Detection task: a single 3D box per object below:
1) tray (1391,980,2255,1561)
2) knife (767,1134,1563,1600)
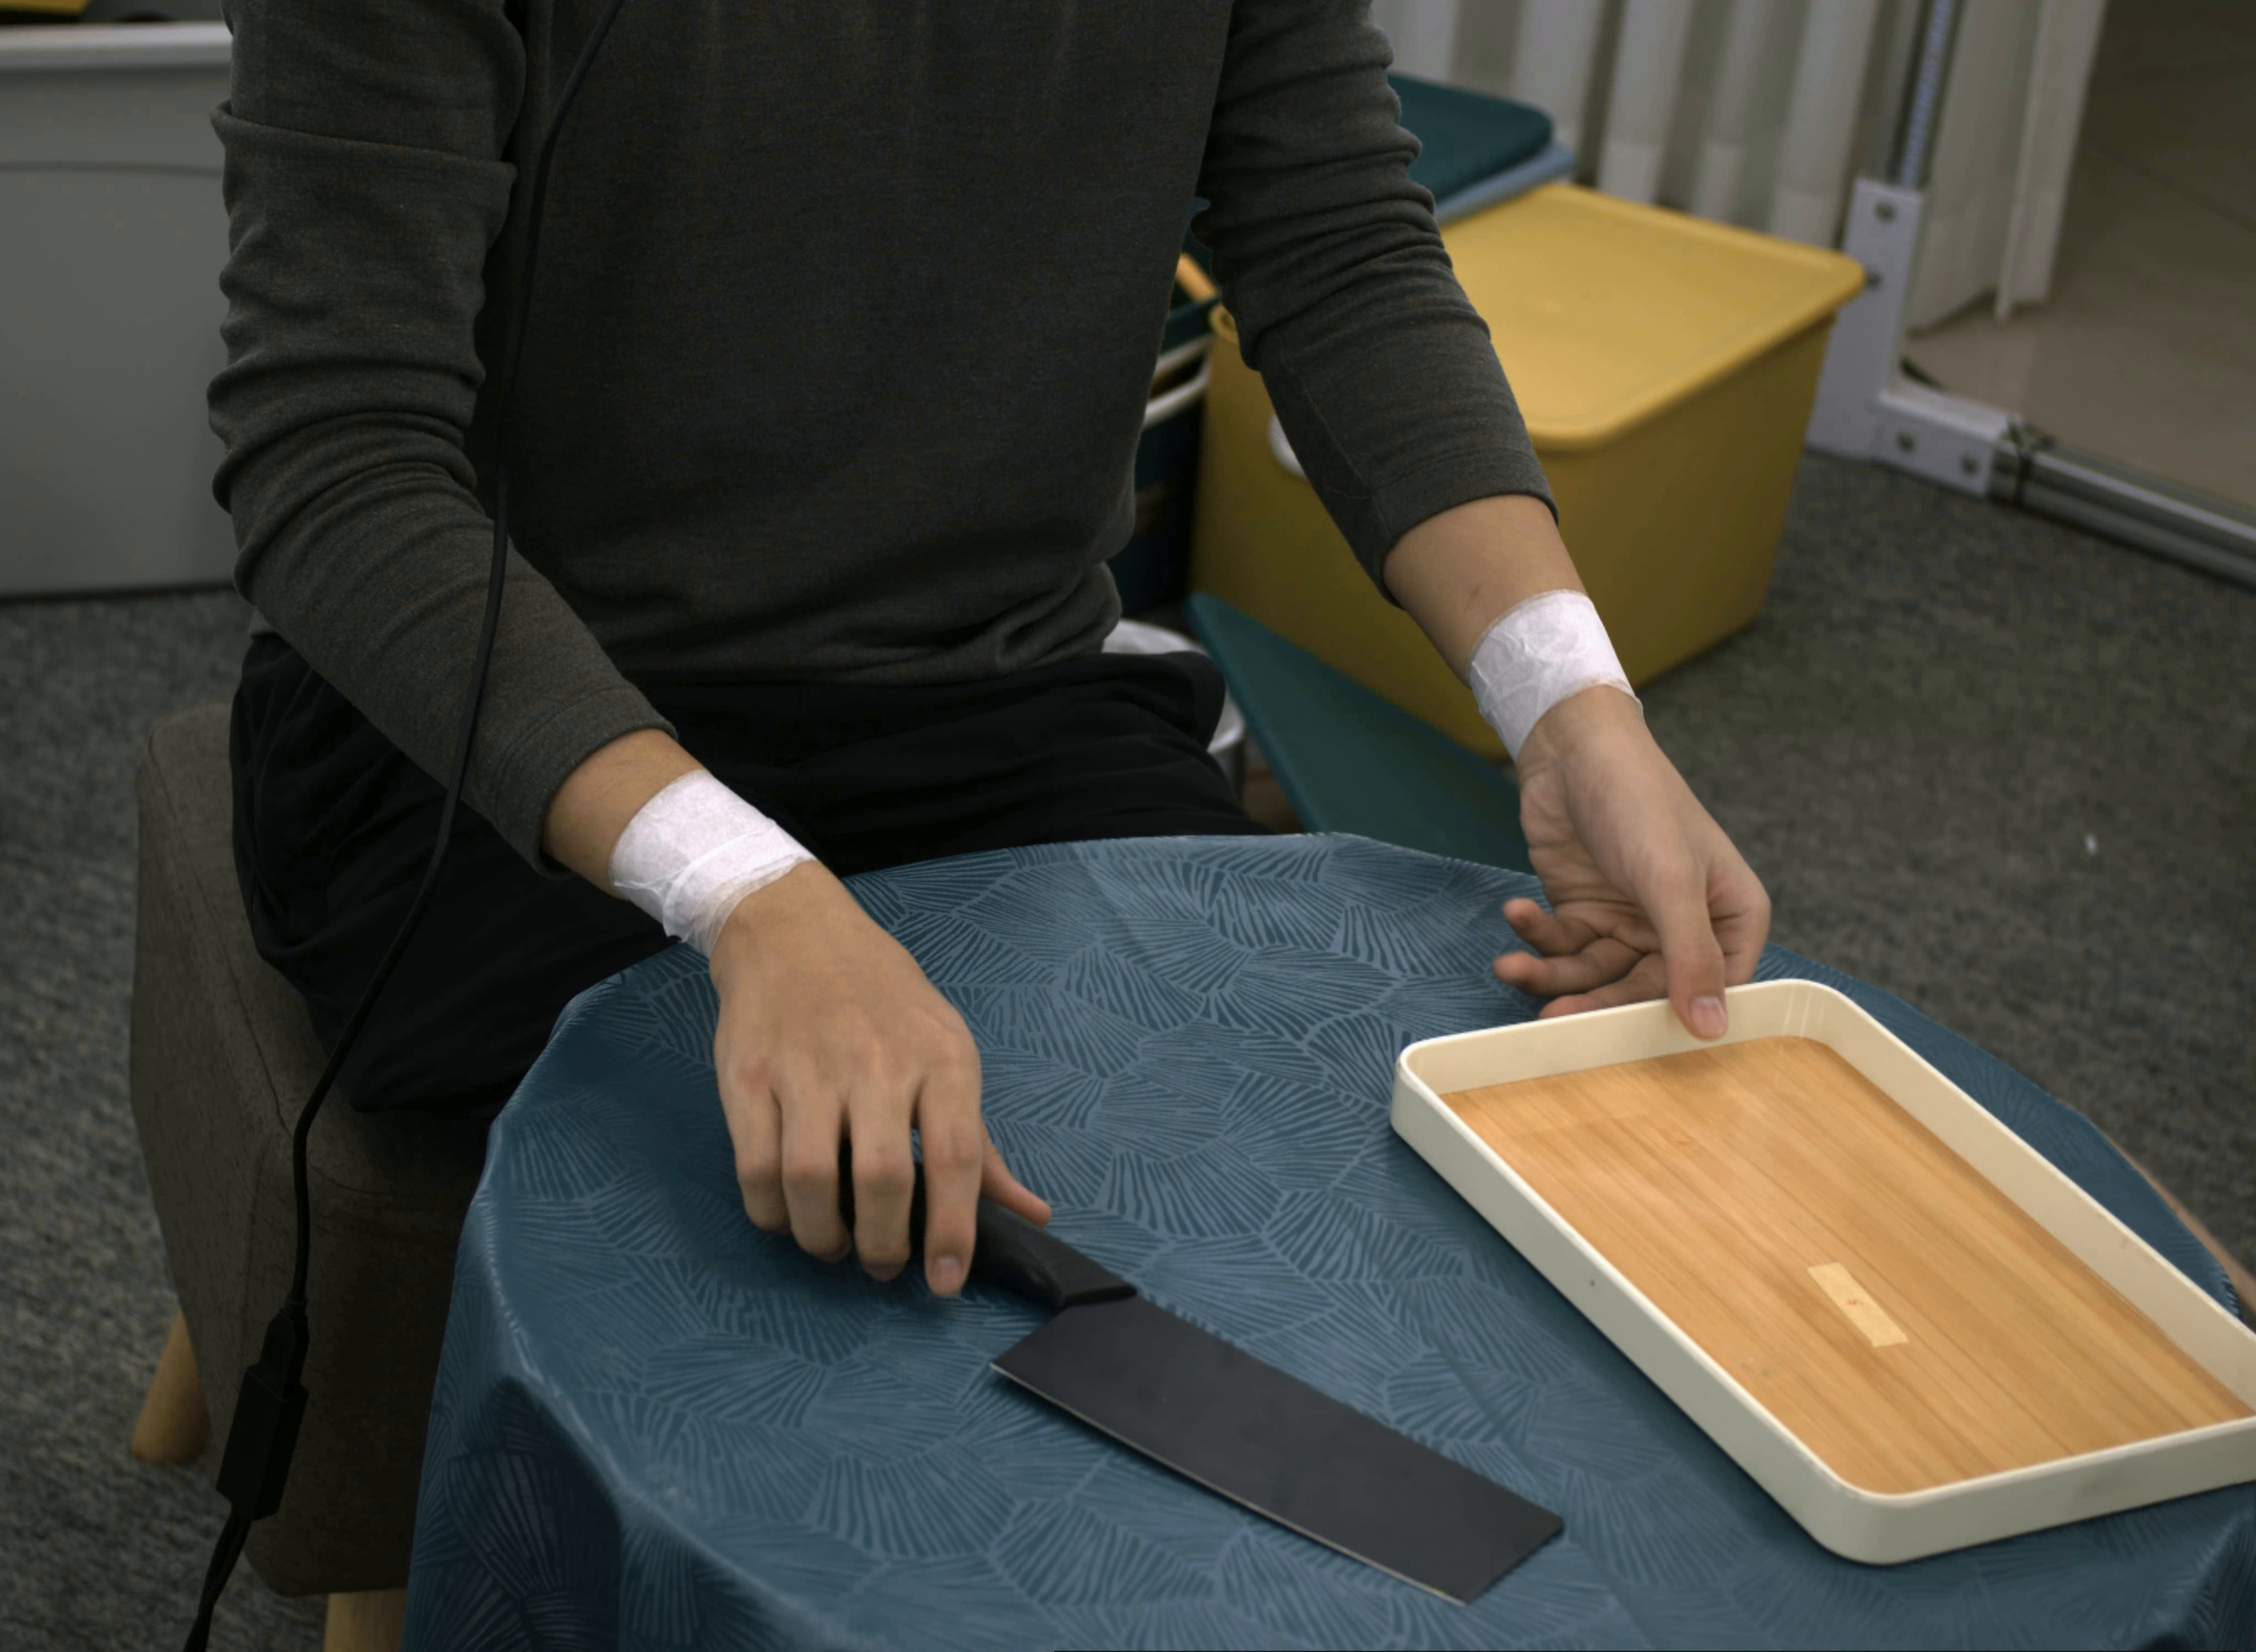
[{"bbox_3d":[0.238,0.143,1.792,0.190,0.027,0.303,-8,30,-27],"label":"tray"},{"bbox_3d":[0.001,0.170,1.700,0.304,0.021,0.080,28,34,32],"label":"knife"}]
